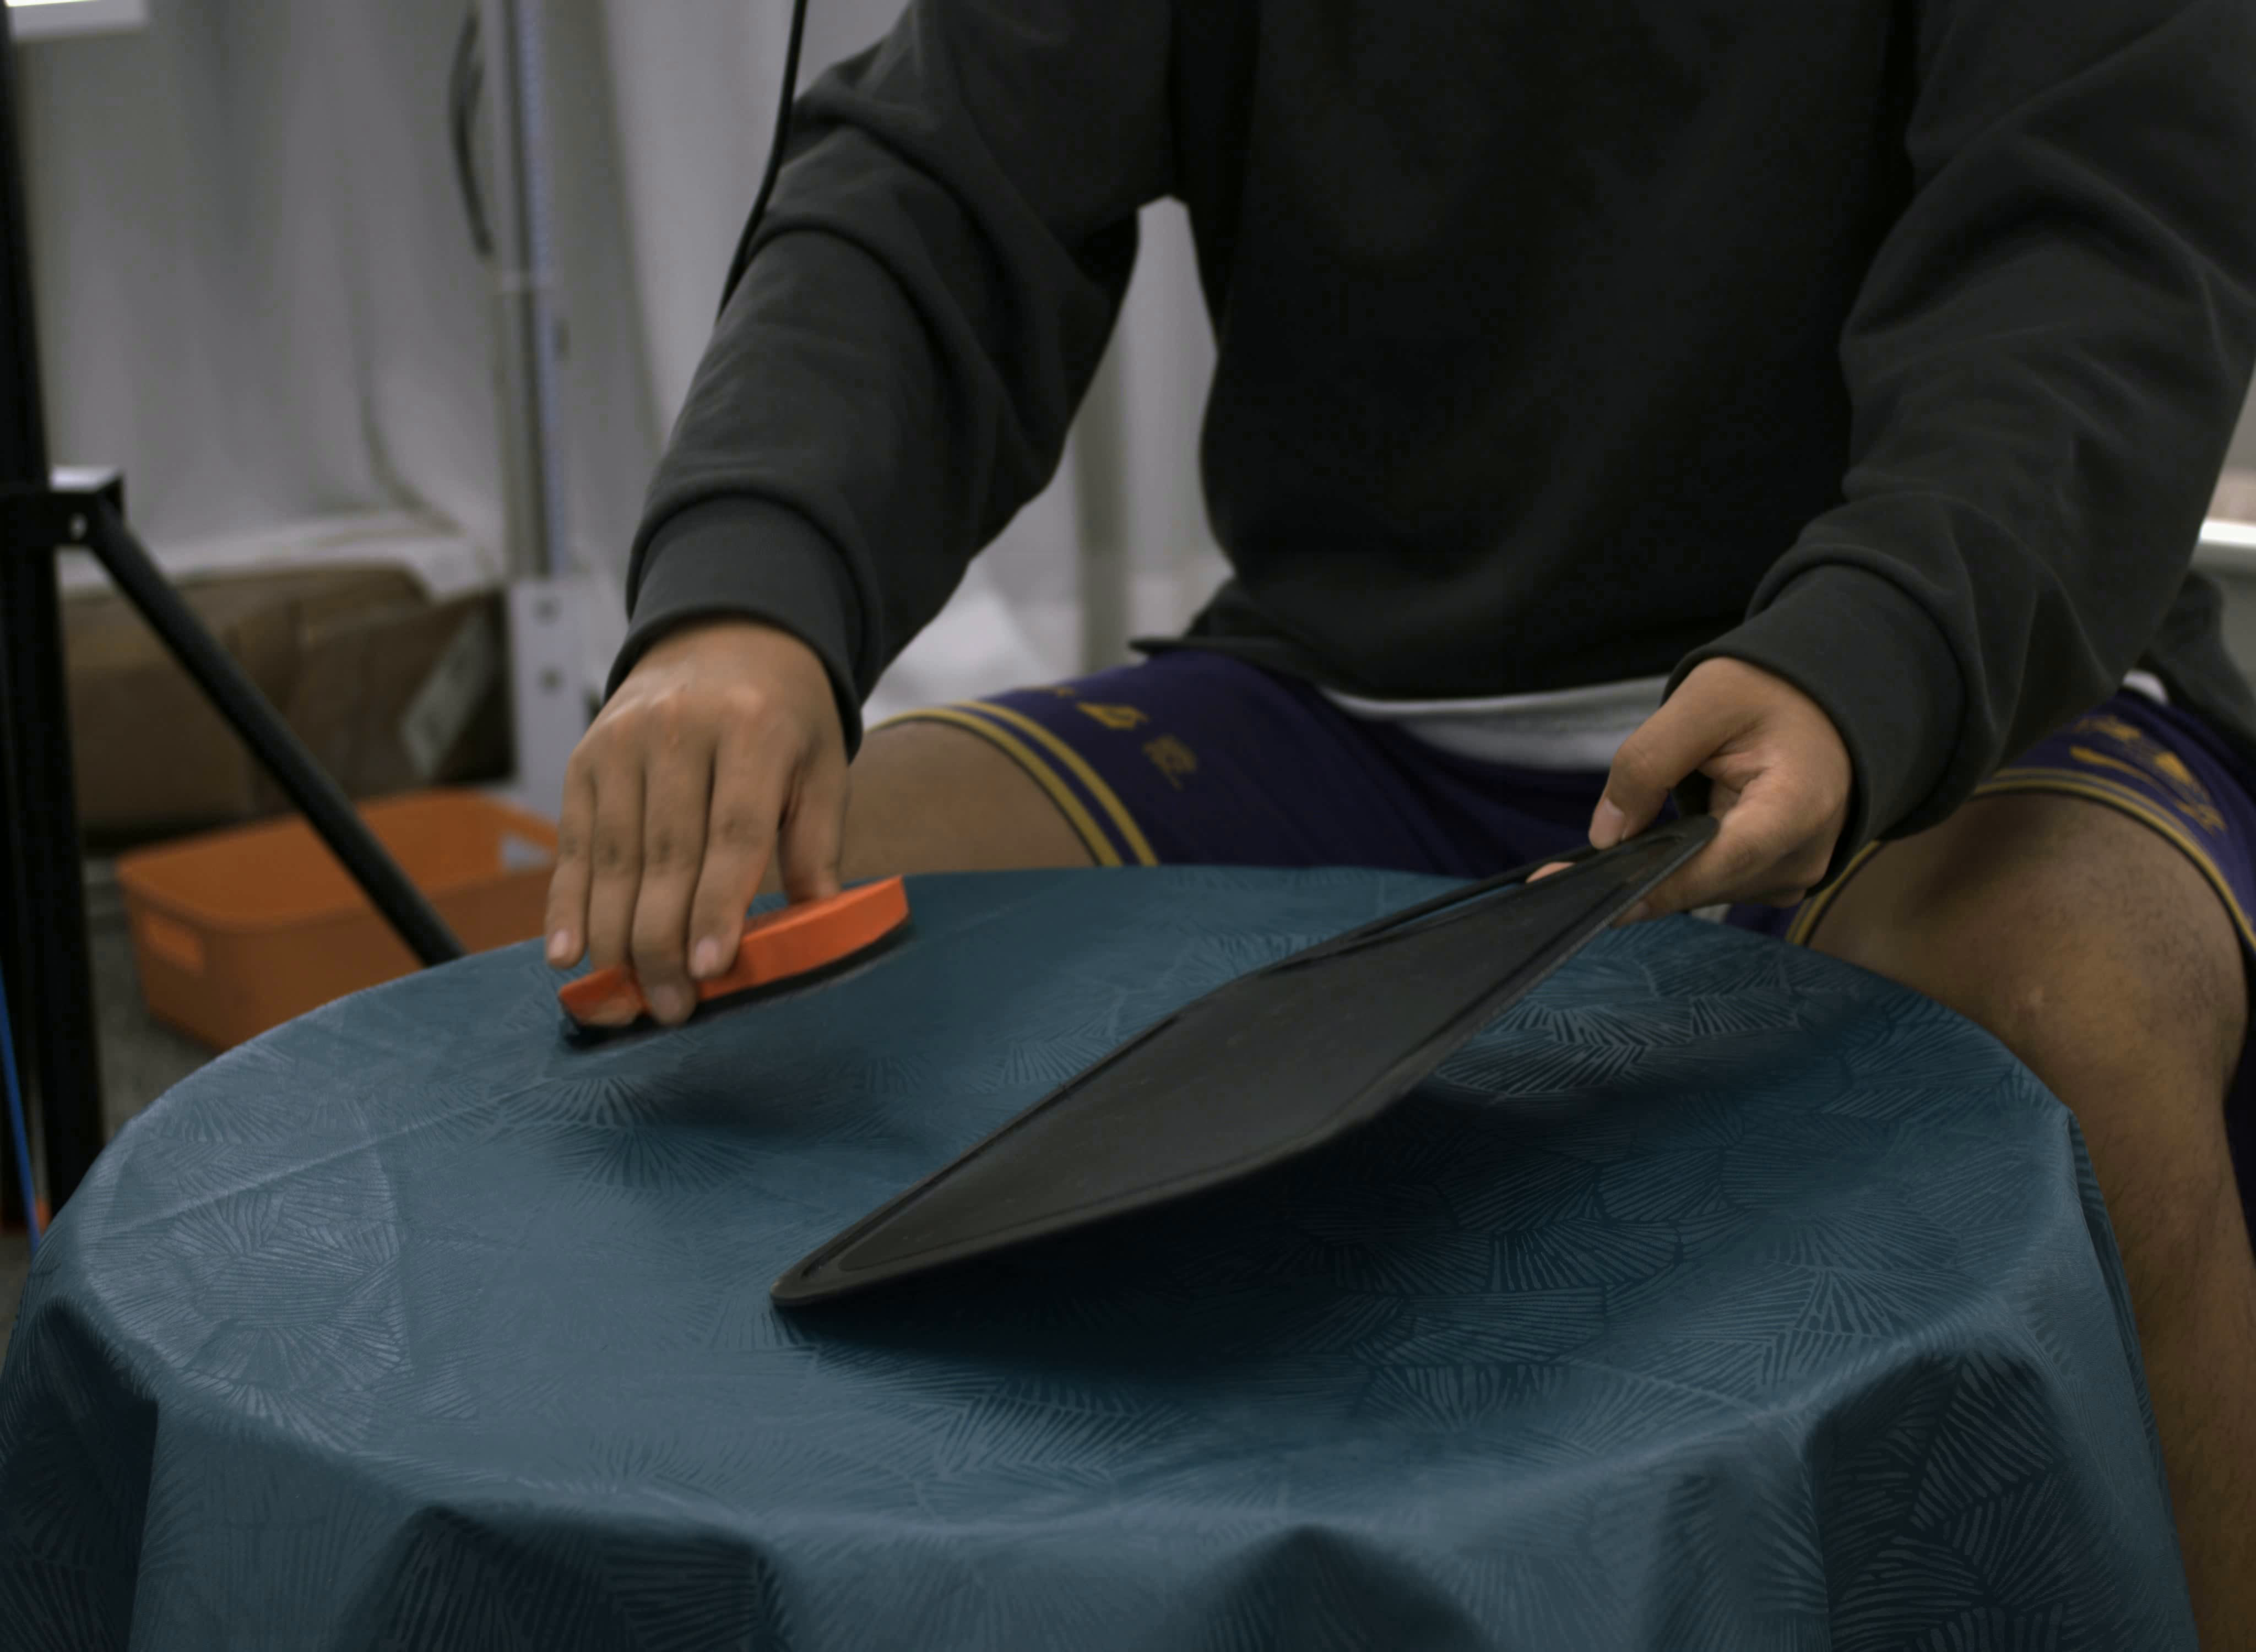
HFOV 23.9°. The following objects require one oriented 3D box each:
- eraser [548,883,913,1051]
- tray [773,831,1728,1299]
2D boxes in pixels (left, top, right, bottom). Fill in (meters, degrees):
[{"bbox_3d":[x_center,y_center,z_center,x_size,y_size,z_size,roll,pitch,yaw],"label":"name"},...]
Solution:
[{"bbox_3d":[-0.122,0.044,1.645,0.110,0.023,0.058,-14,7,36],"label":"eraser"},{"bbox_3d":[0.043,0.064,1.544,0.214,0.010,0.320,-18,8,34],"label":"tray"}]
